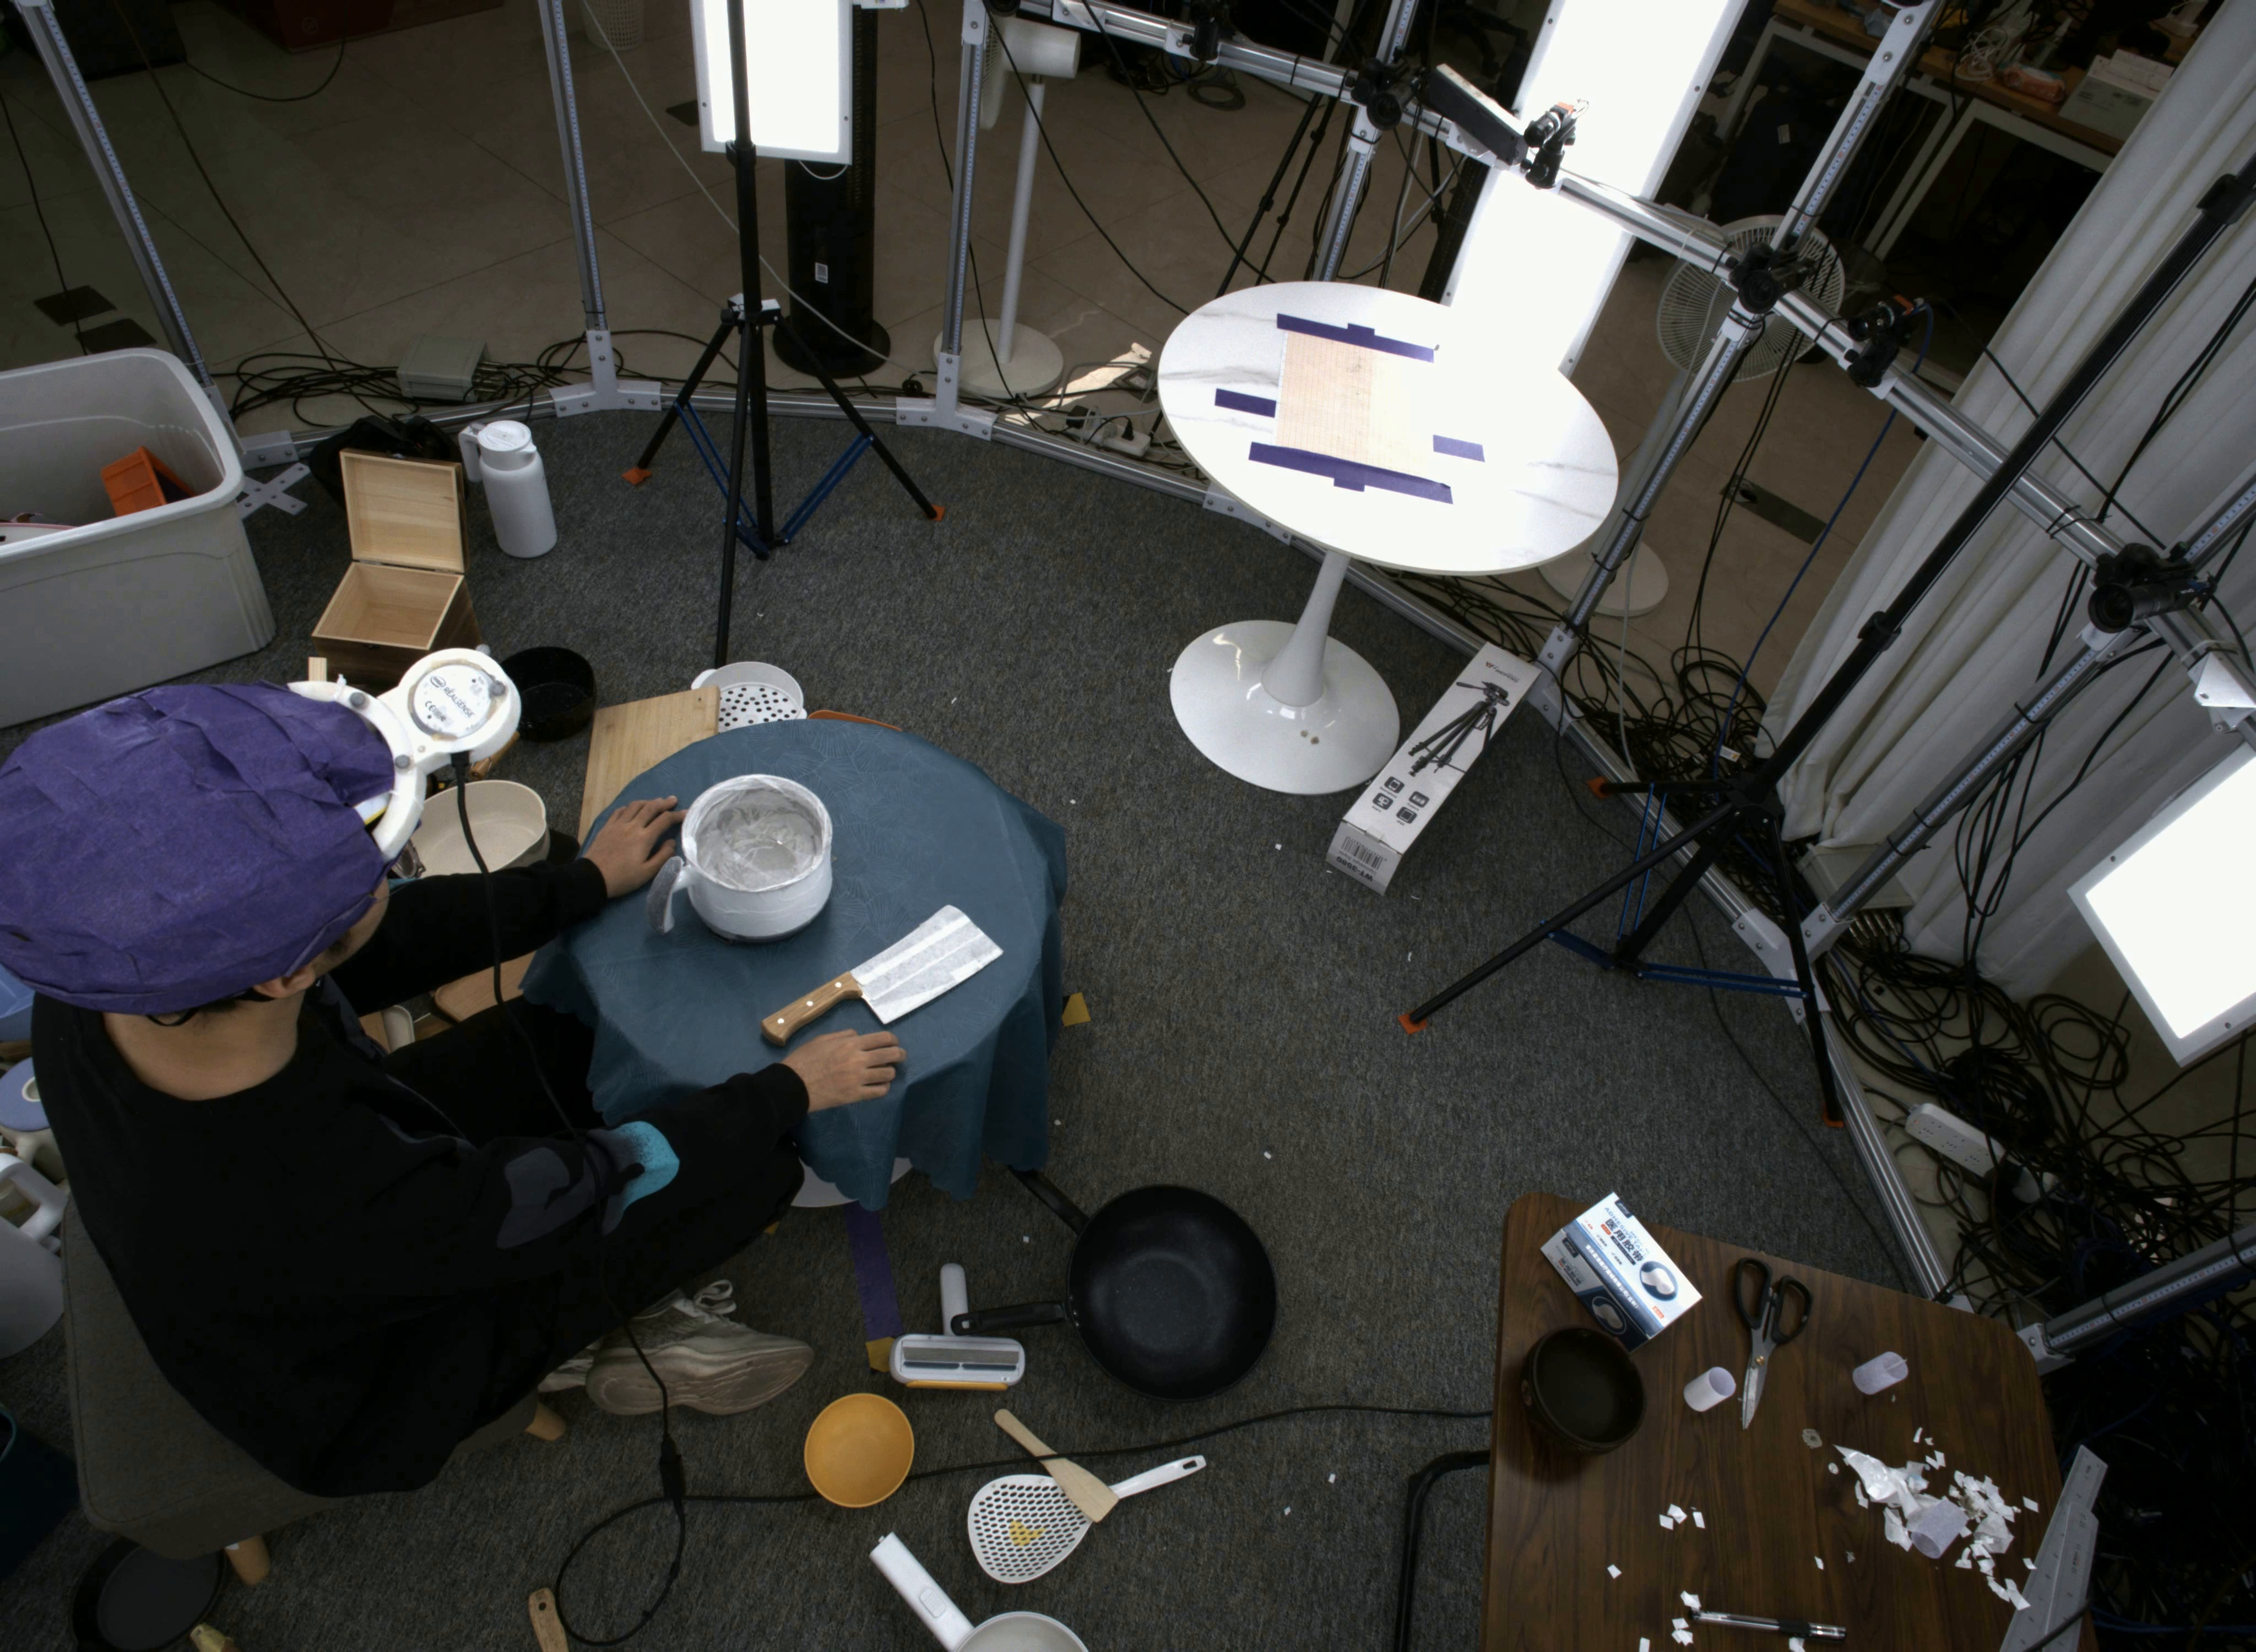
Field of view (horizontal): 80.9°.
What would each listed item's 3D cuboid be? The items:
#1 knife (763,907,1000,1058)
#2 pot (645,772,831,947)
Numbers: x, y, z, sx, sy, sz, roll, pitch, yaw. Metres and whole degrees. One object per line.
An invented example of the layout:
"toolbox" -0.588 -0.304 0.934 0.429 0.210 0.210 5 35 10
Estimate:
"knife" -0.303 0.190 1.592 0.317 0.022 0.111 -27 65 -33
"pot" -0.476 0.053 1.571 0.235 0.139 0.174 -25 62 -30
